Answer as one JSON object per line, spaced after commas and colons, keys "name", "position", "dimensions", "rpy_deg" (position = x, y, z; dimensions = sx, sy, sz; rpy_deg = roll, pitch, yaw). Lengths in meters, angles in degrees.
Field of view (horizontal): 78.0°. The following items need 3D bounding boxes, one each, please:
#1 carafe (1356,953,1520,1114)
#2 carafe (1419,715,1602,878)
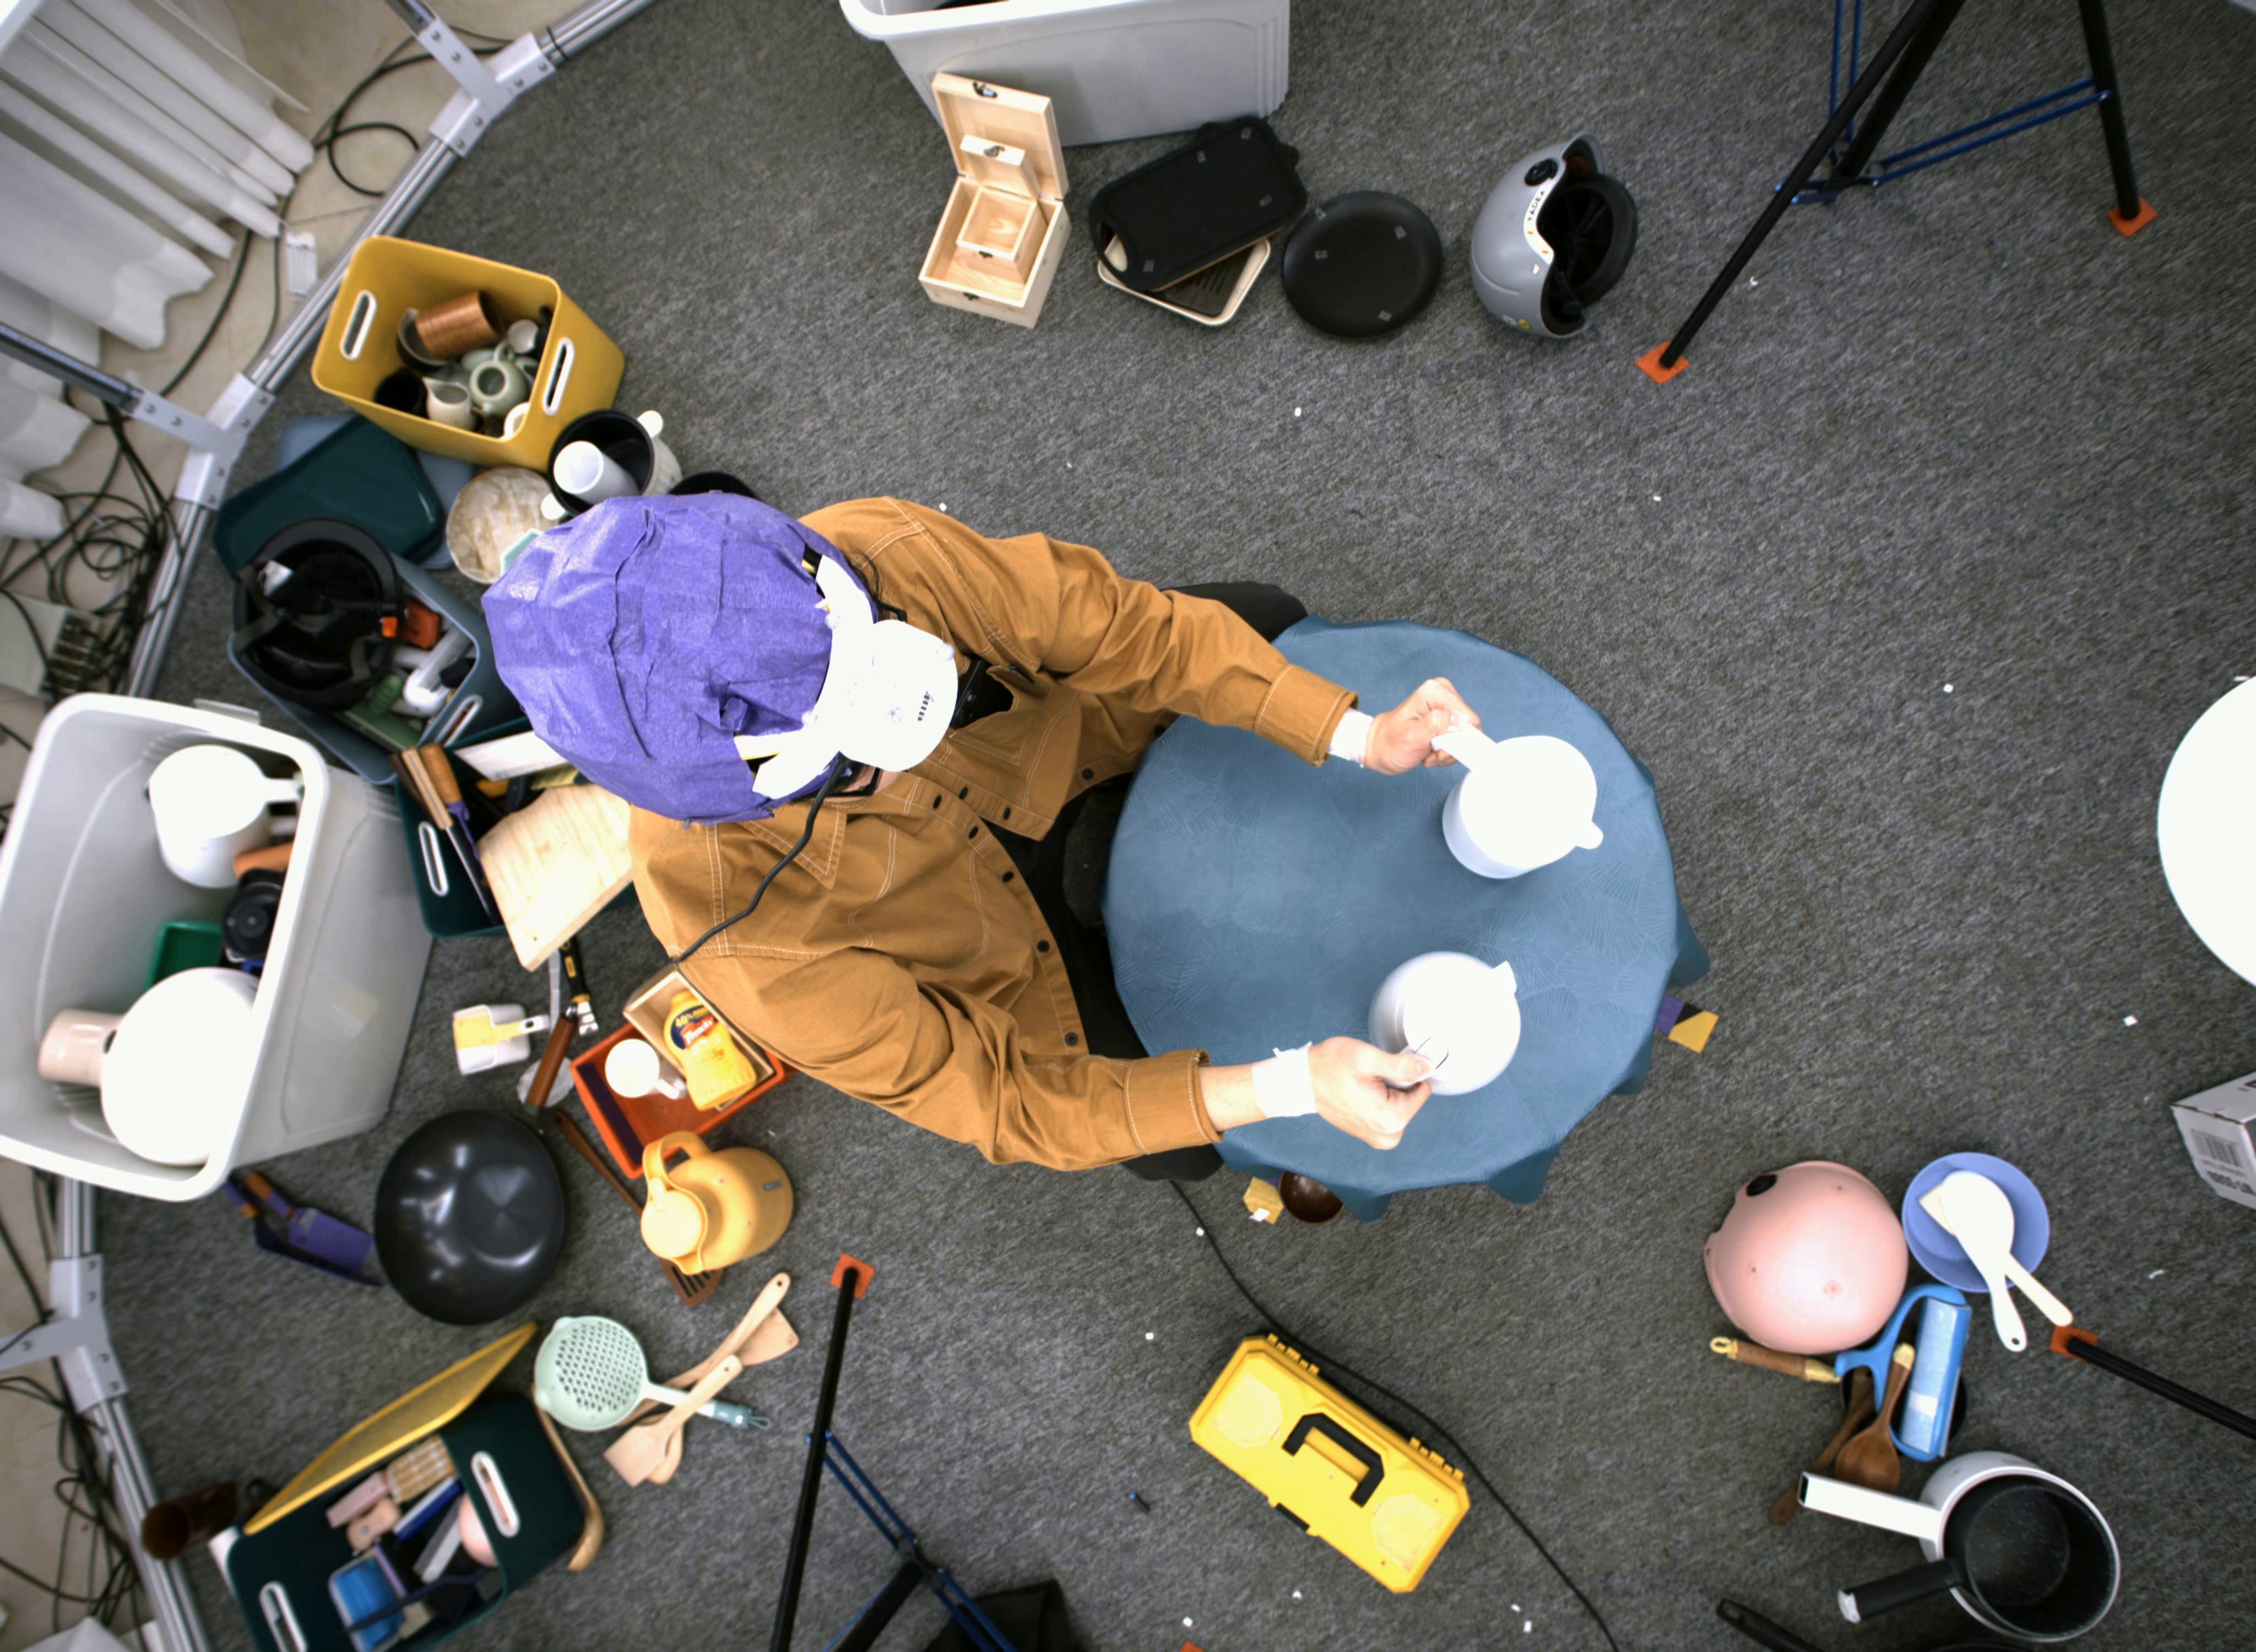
{"name": "carafe", "position": [0.269, 0.188, 1.220], "dimensions": [0.168, 0.249, 0.132], "rpy_deg": [-44, 78, 1]}
{"name": "carafe", "position": [0.350, -0.027, 1.291], "dimensions": [0.172, 0.268, 0.124], "rpy_deg": [38, 94, 10]}
